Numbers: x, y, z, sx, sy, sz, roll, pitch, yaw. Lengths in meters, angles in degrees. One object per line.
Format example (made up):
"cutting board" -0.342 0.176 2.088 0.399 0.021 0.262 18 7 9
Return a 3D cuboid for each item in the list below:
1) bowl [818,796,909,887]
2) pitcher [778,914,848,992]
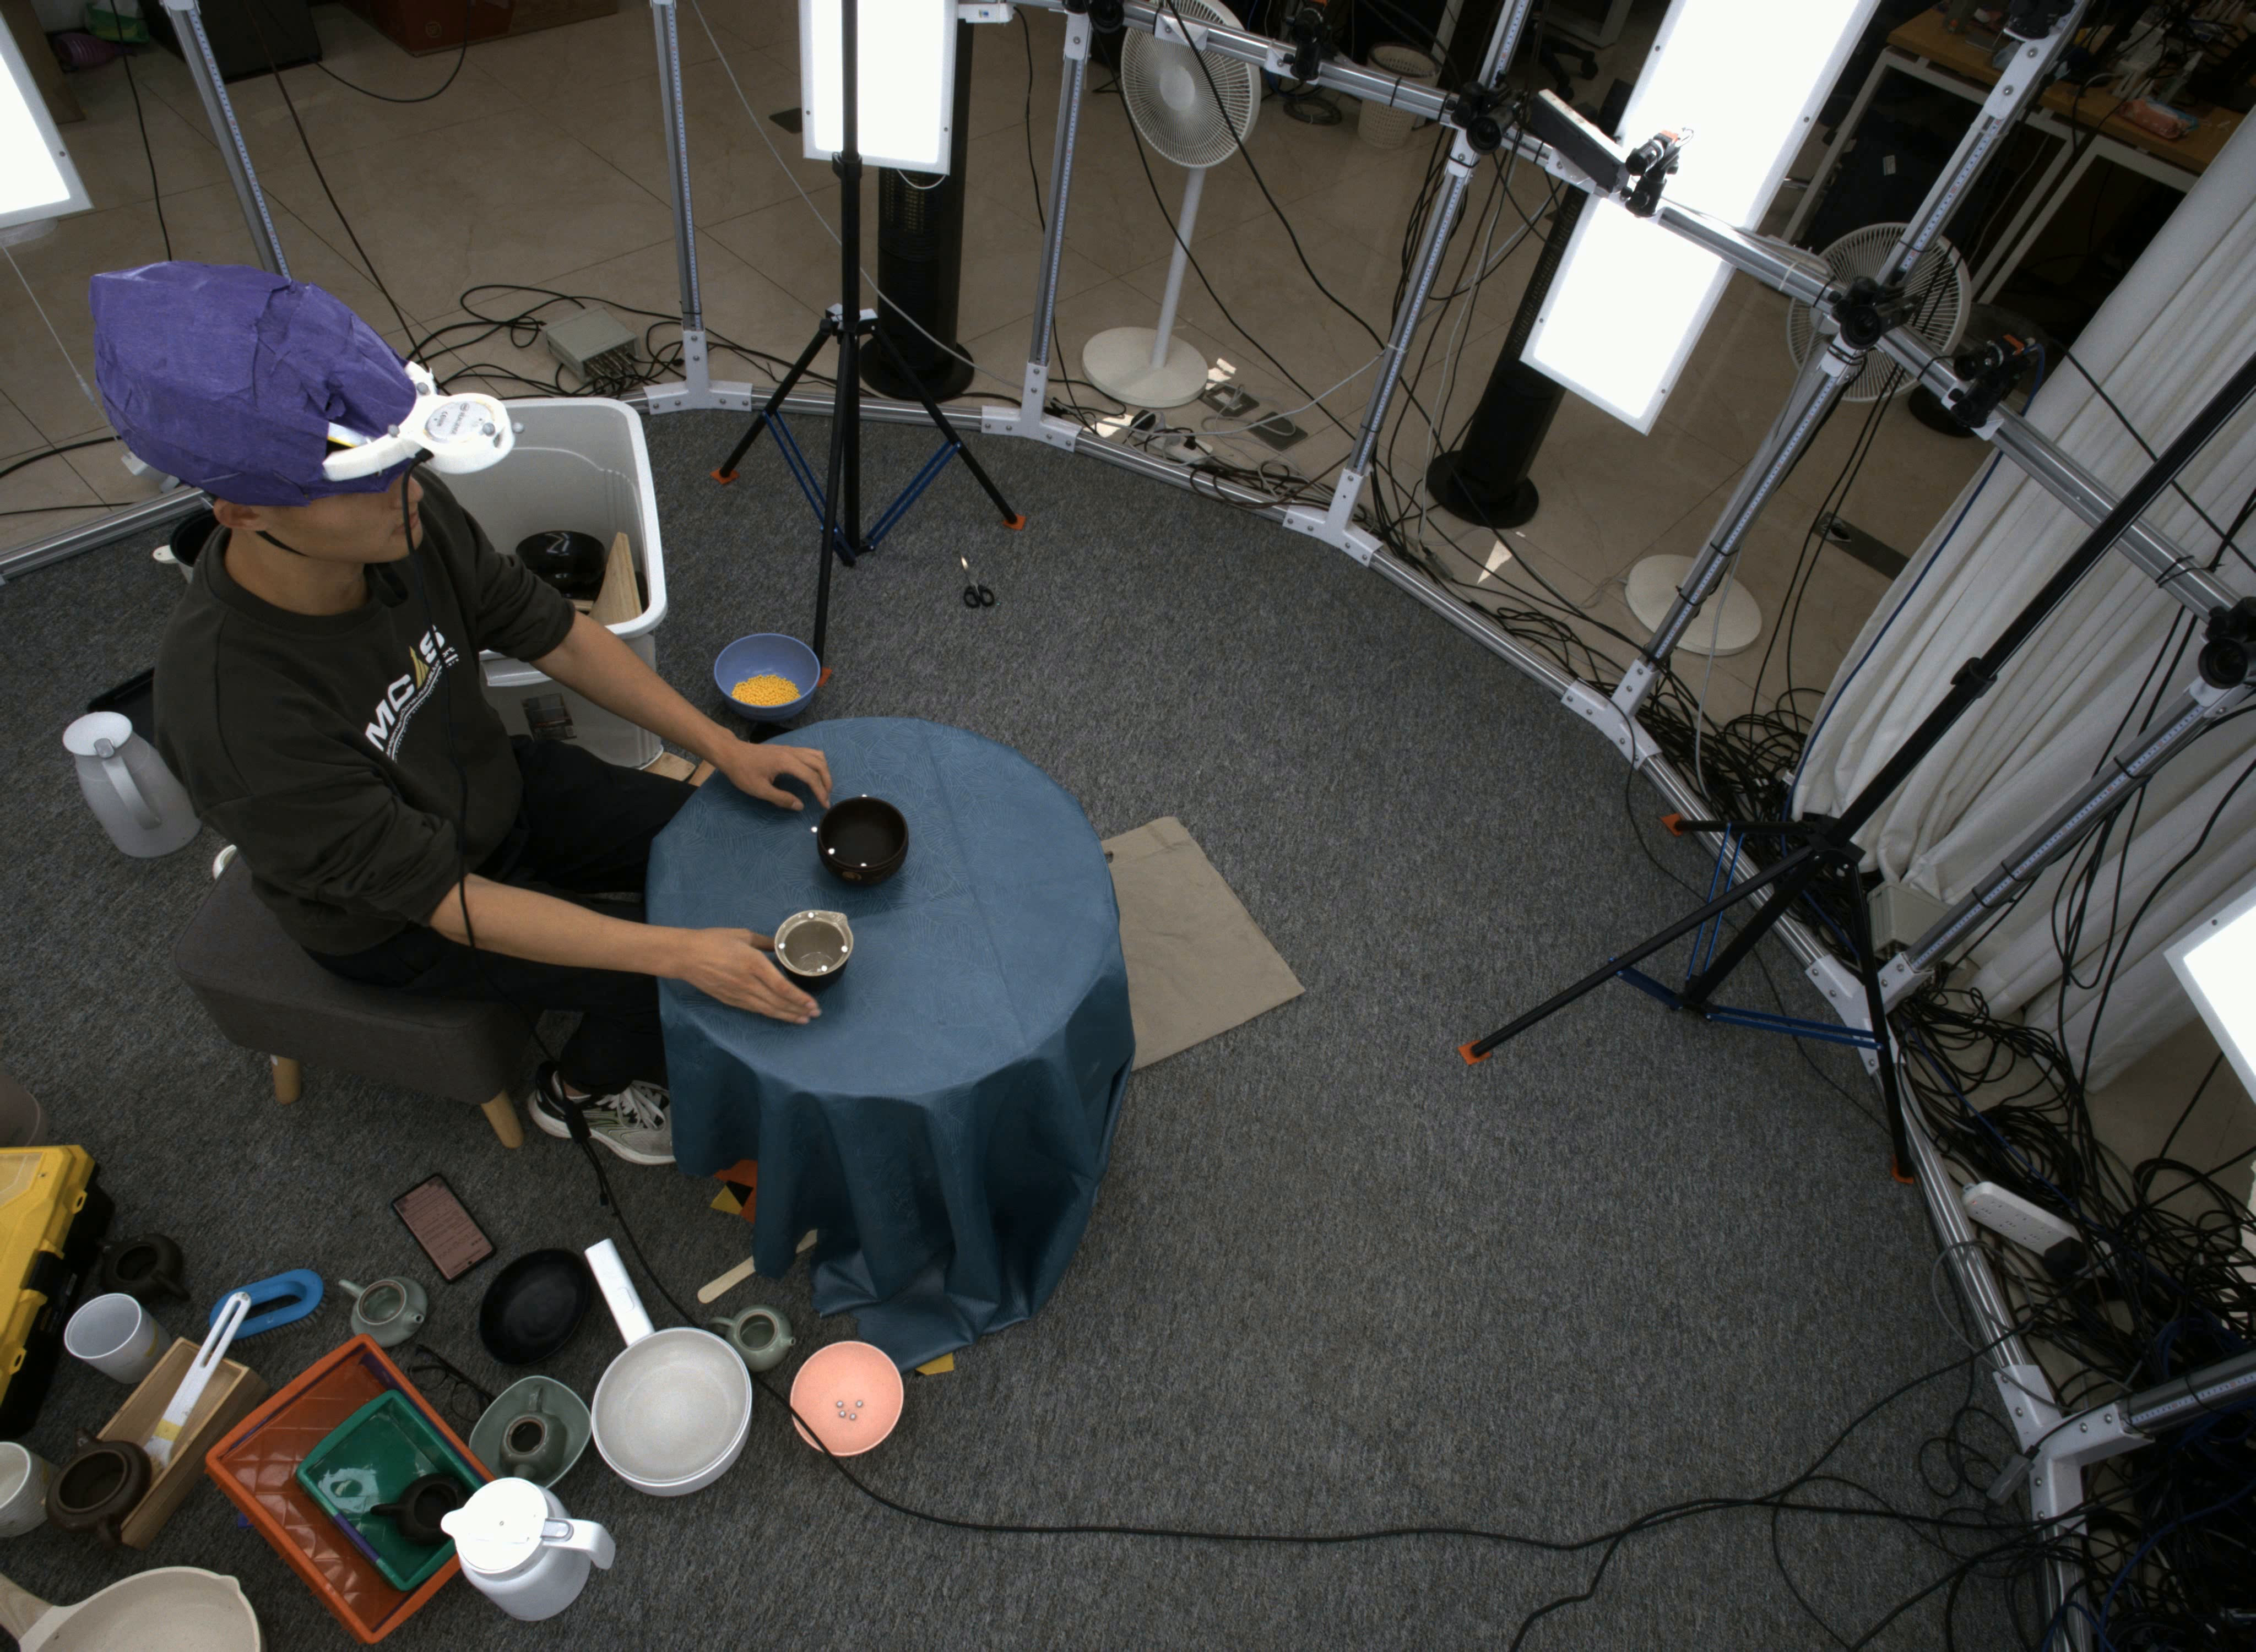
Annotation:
"bowl" -0.344 0.027 1.688 0.118 0.071 0.116 8 53 -9
"pitcher" -0.379 0.156 1.581 0.082 0.073 0.096 36 55 18
